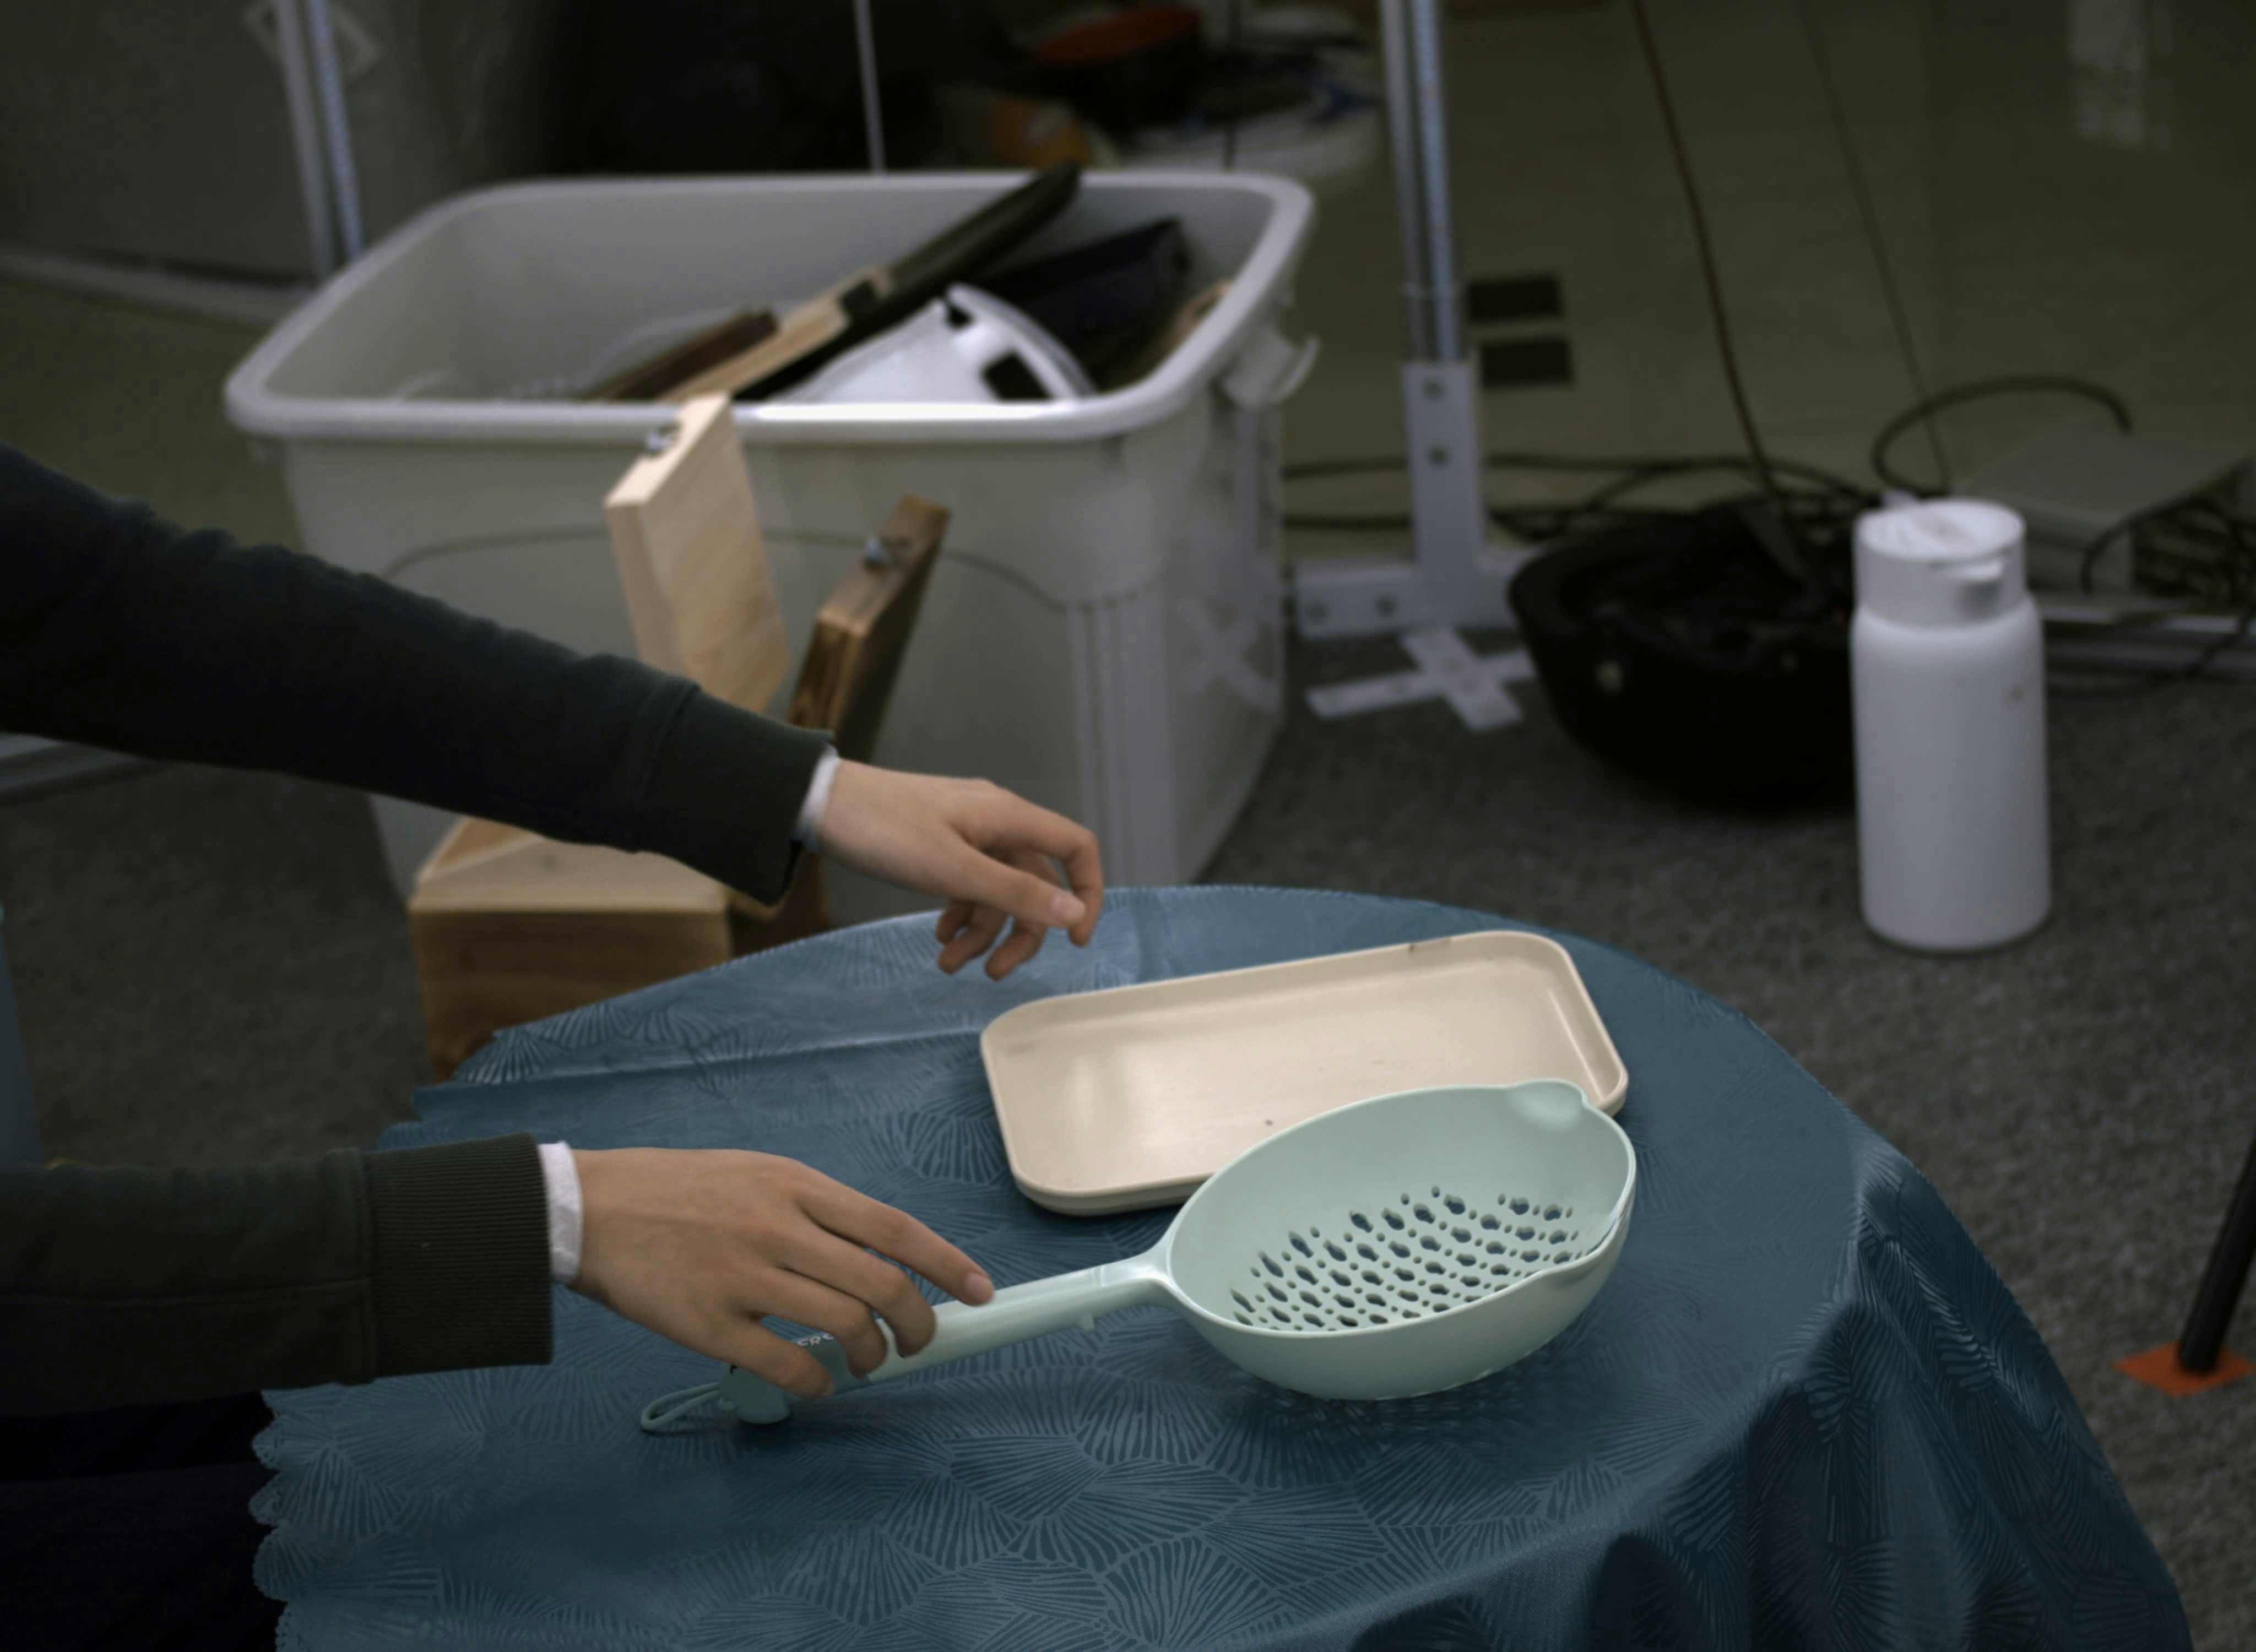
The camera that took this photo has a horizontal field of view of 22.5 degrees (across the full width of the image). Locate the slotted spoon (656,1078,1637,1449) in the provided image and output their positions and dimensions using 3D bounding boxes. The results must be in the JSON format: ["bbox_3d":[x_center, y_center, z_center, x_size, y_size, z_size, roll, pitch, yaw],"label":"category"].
[{"bbox_3d":[0.004,0.169,2.014,0.358,0.076,0.167,-6,24,2],"label":"slotted spoon"}]

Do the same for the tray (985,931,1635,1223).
[{"bbox_3d":[0.069,0.098,2.205,0.239,0.018,0.169,-9,25,-4],"label":"tray"}]
